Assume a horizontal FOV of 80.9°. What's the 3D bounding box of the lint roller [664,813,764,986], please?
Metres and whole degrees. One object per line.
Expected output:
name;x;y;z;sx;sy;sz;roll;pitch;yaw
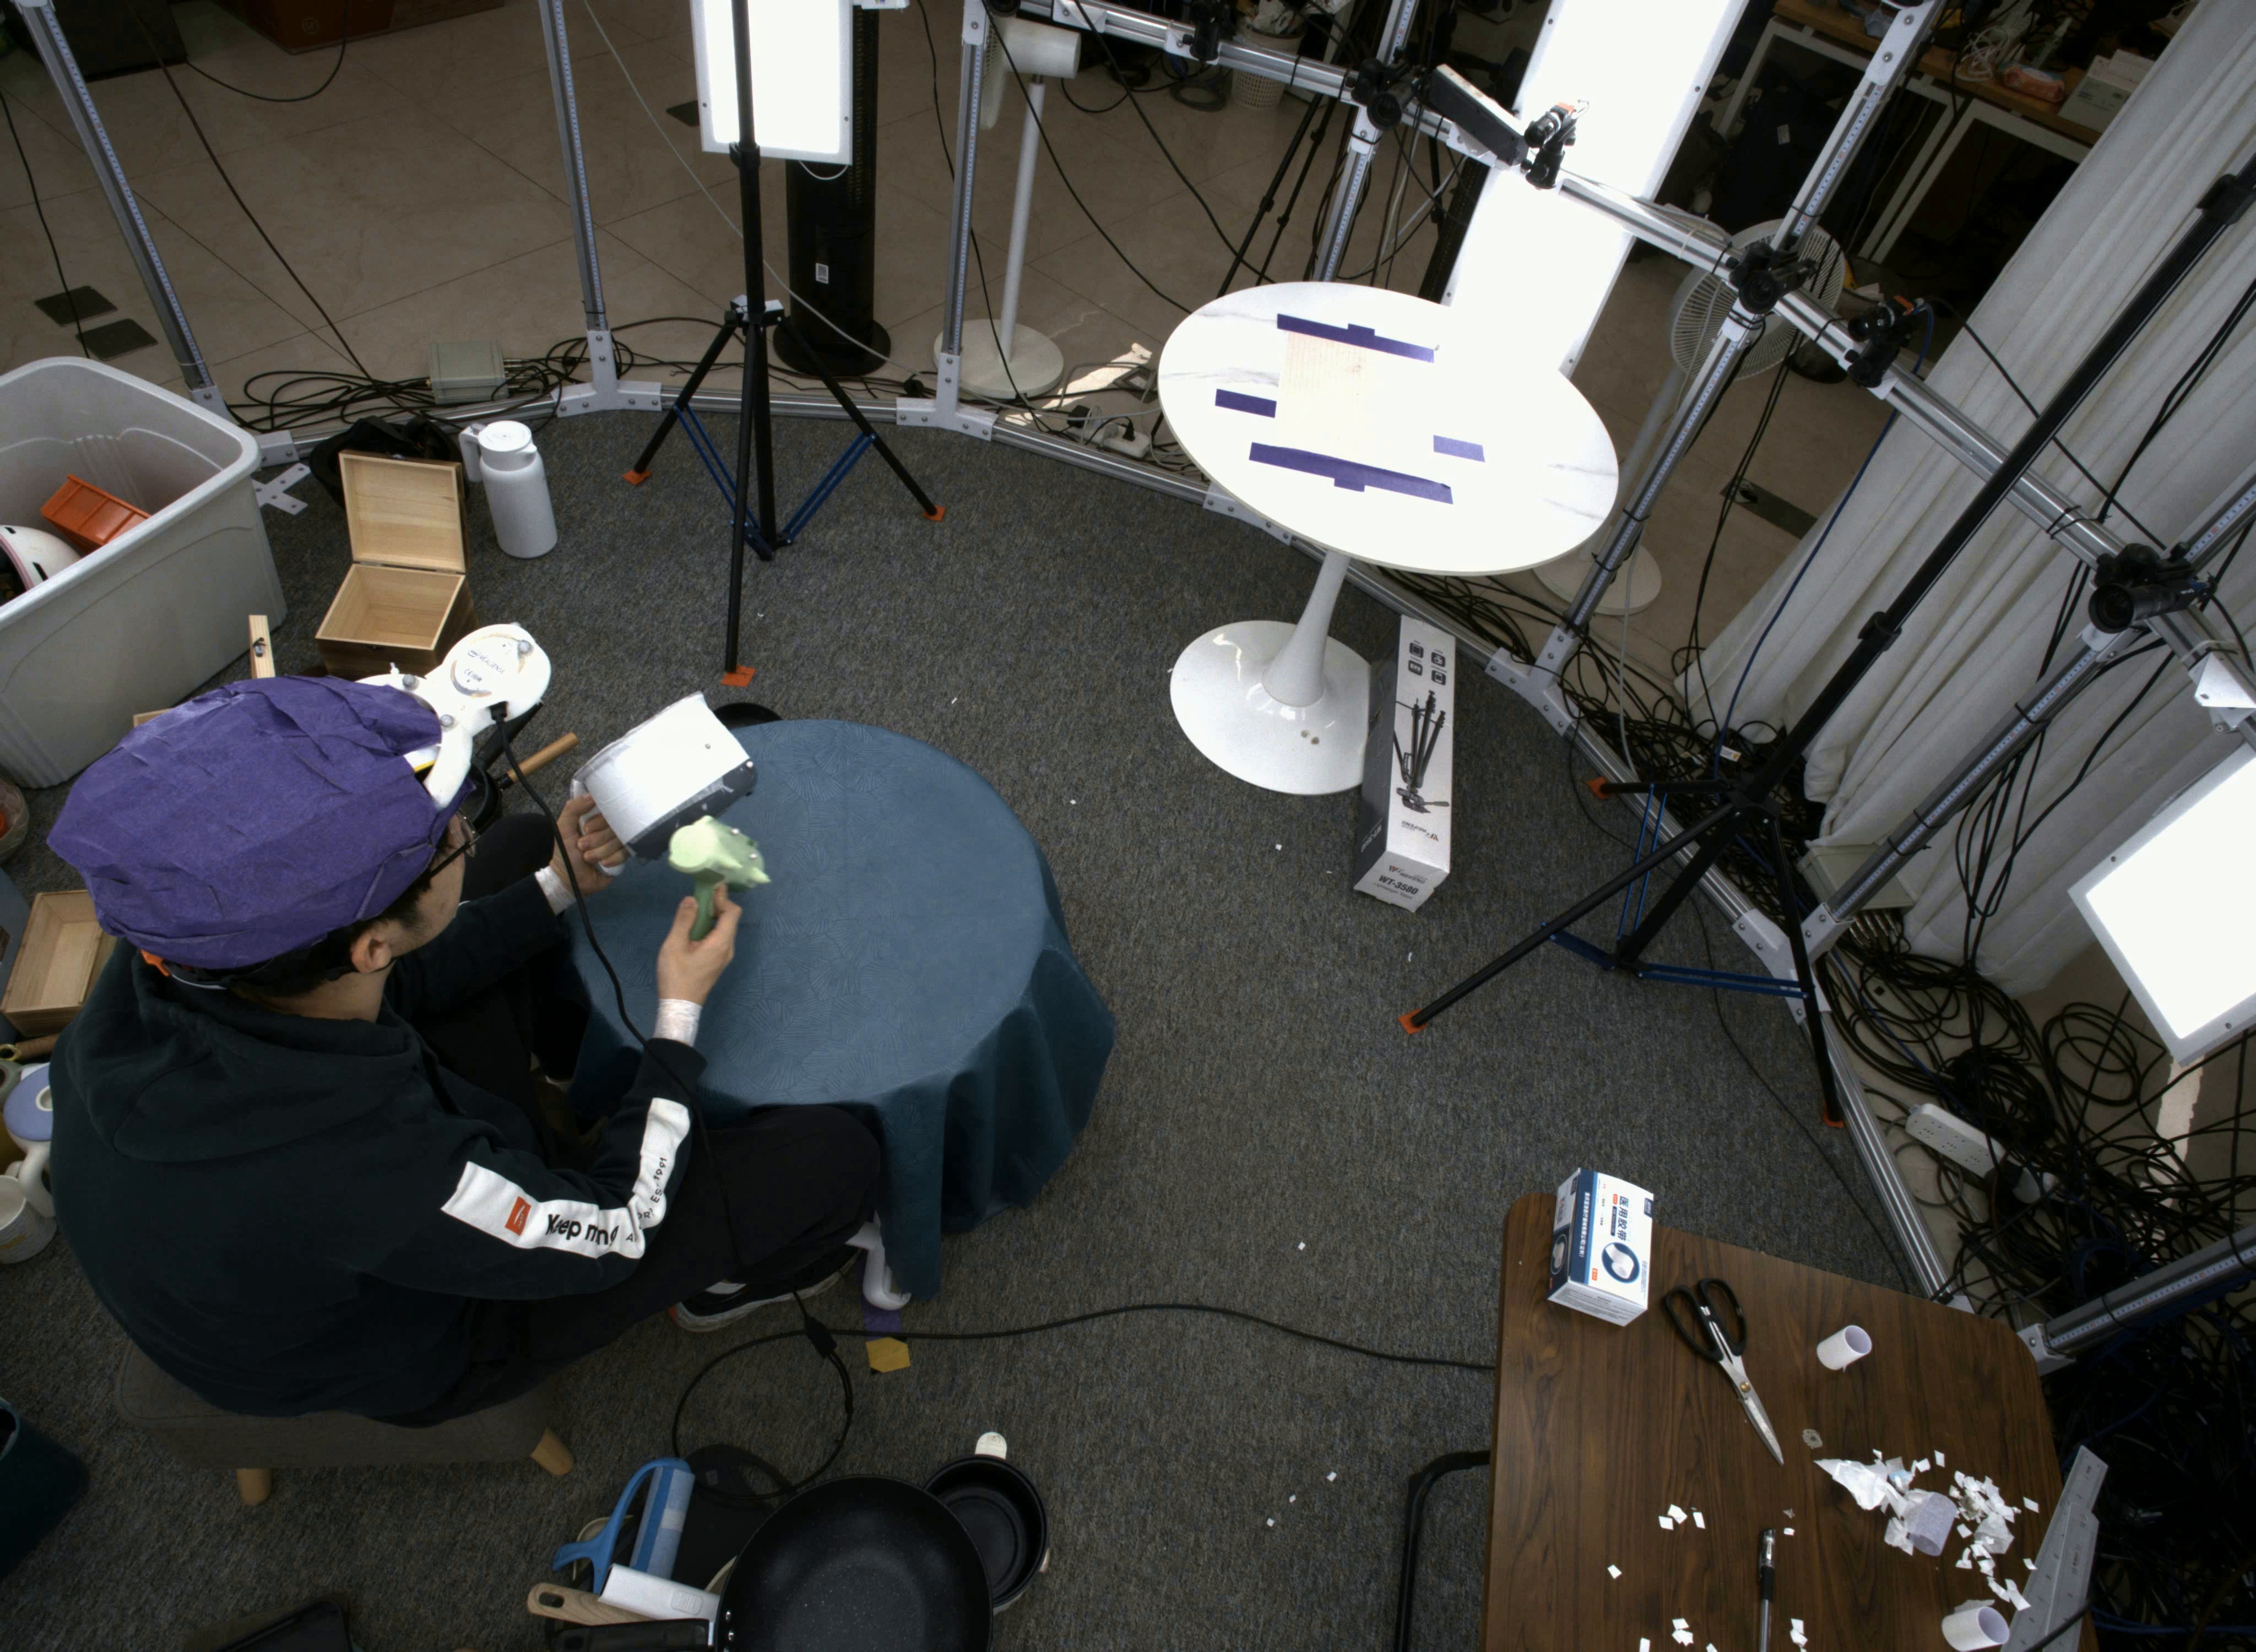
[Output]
lint roller;-0.477;0.091;1.474;0.081;0.200;0.184;6;80;0

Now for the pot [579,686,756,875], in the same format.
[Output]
pot;-0.560;-0.046;1.510;0.139;0.232;0.177;56;12;-9
